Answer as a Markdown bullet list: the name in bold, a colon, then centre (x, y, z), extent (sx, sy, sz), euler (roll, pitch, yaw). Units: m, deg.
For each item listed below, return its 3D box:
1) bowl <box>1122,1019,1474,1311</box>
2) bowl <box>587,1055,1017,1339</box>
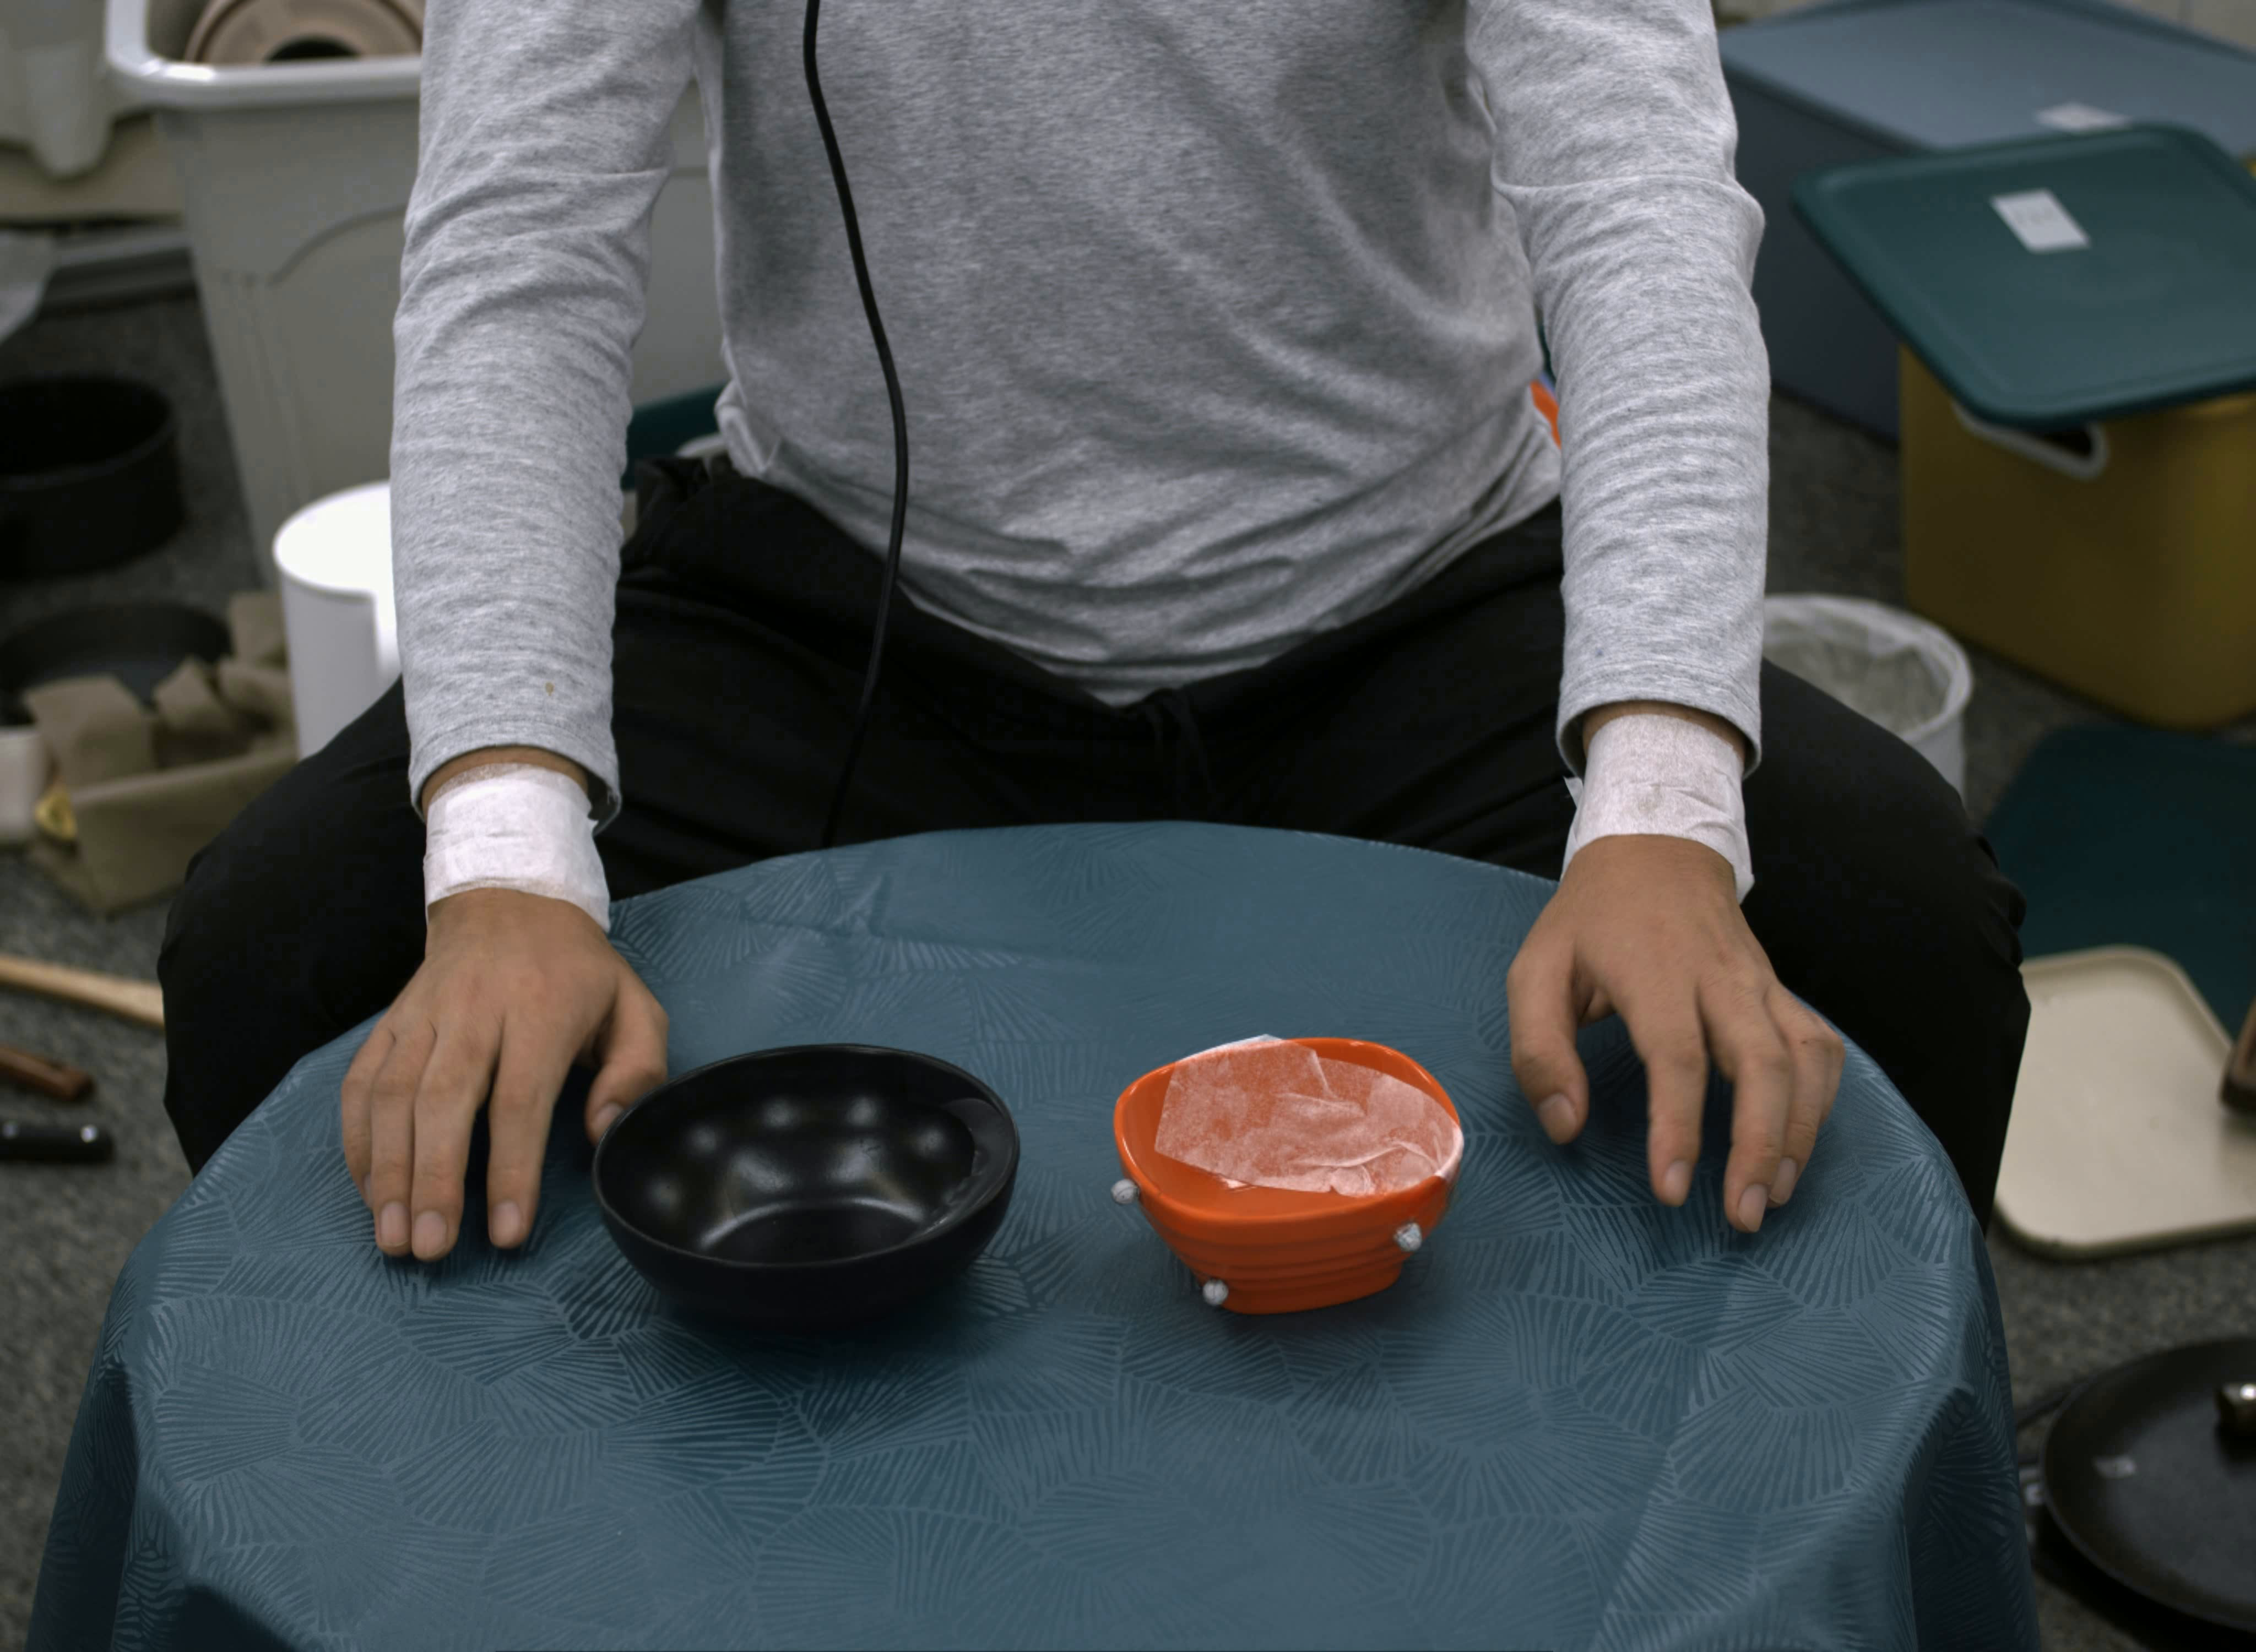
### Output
- **bowl**: centre (0.055, 0.114, 1.808), extent (0.118, 0.051, 0.121), euler (-2, 32, 2)
- **bowl**: centre (-0.103, 0.127, 1.812), extent (0.139, 0.049, 0.142), euler (-2, 24, 1)
